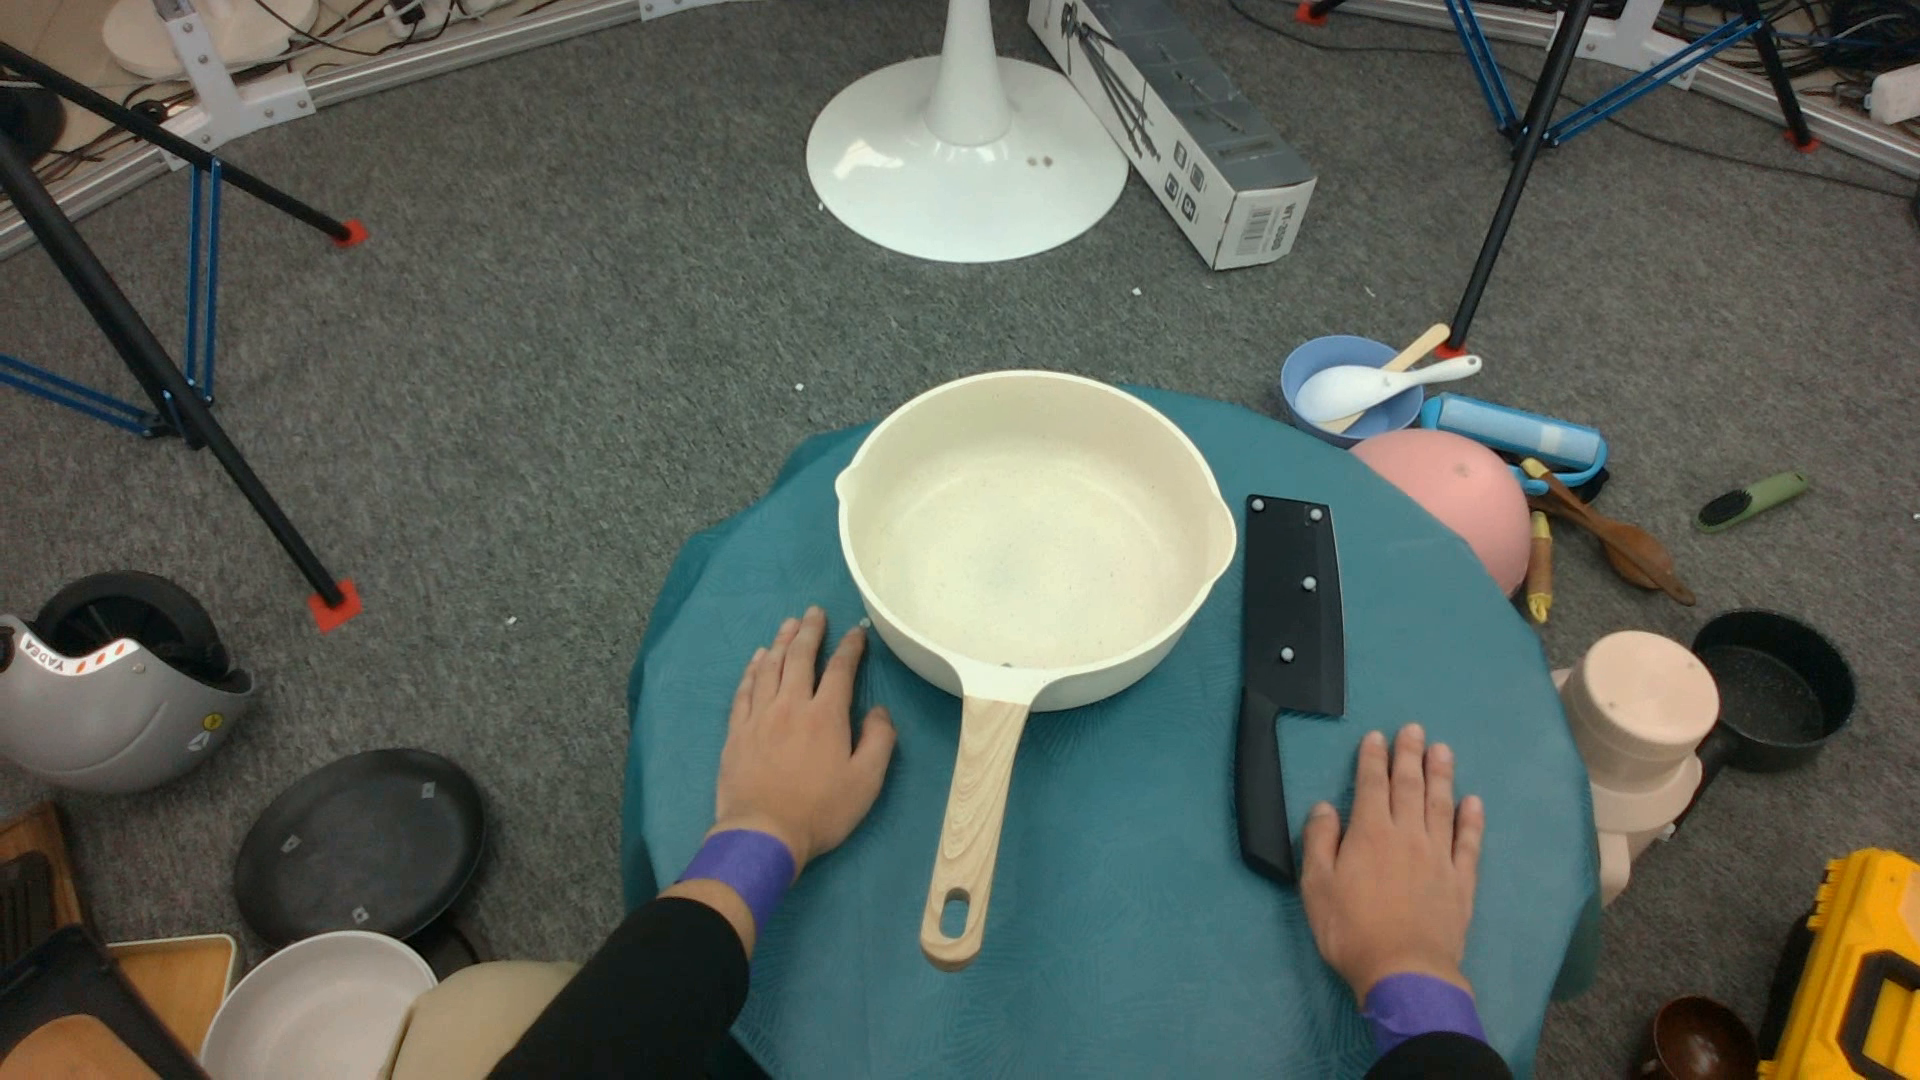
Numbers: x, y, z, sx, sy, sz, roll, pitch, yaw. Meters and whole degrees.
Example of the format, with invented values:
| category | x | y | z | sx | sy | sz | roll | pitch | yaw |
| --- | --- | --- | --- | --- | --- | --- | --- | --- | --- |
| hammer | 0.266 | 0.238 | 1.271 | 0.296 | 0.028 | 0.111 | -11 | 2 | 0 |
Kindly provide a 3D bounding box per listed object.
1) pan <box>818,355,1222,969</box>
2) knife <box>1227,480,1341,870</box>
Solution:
| category | x | y | z | sx | sy | sz | roll | pitch | yaw |
| --- | --- | --- | --- | --- | --- | --- | --- | --- | --- |
| pan | 0.023 | 0.065 | 0.860 | 0.263 | 0.101 | 0.437 | 9 | 54 | 3 |
| knife | 0.212 | 0.076 | 0.909 | 0.081 | 0.021 | 0.304 | 11 | 52 | 6 |
